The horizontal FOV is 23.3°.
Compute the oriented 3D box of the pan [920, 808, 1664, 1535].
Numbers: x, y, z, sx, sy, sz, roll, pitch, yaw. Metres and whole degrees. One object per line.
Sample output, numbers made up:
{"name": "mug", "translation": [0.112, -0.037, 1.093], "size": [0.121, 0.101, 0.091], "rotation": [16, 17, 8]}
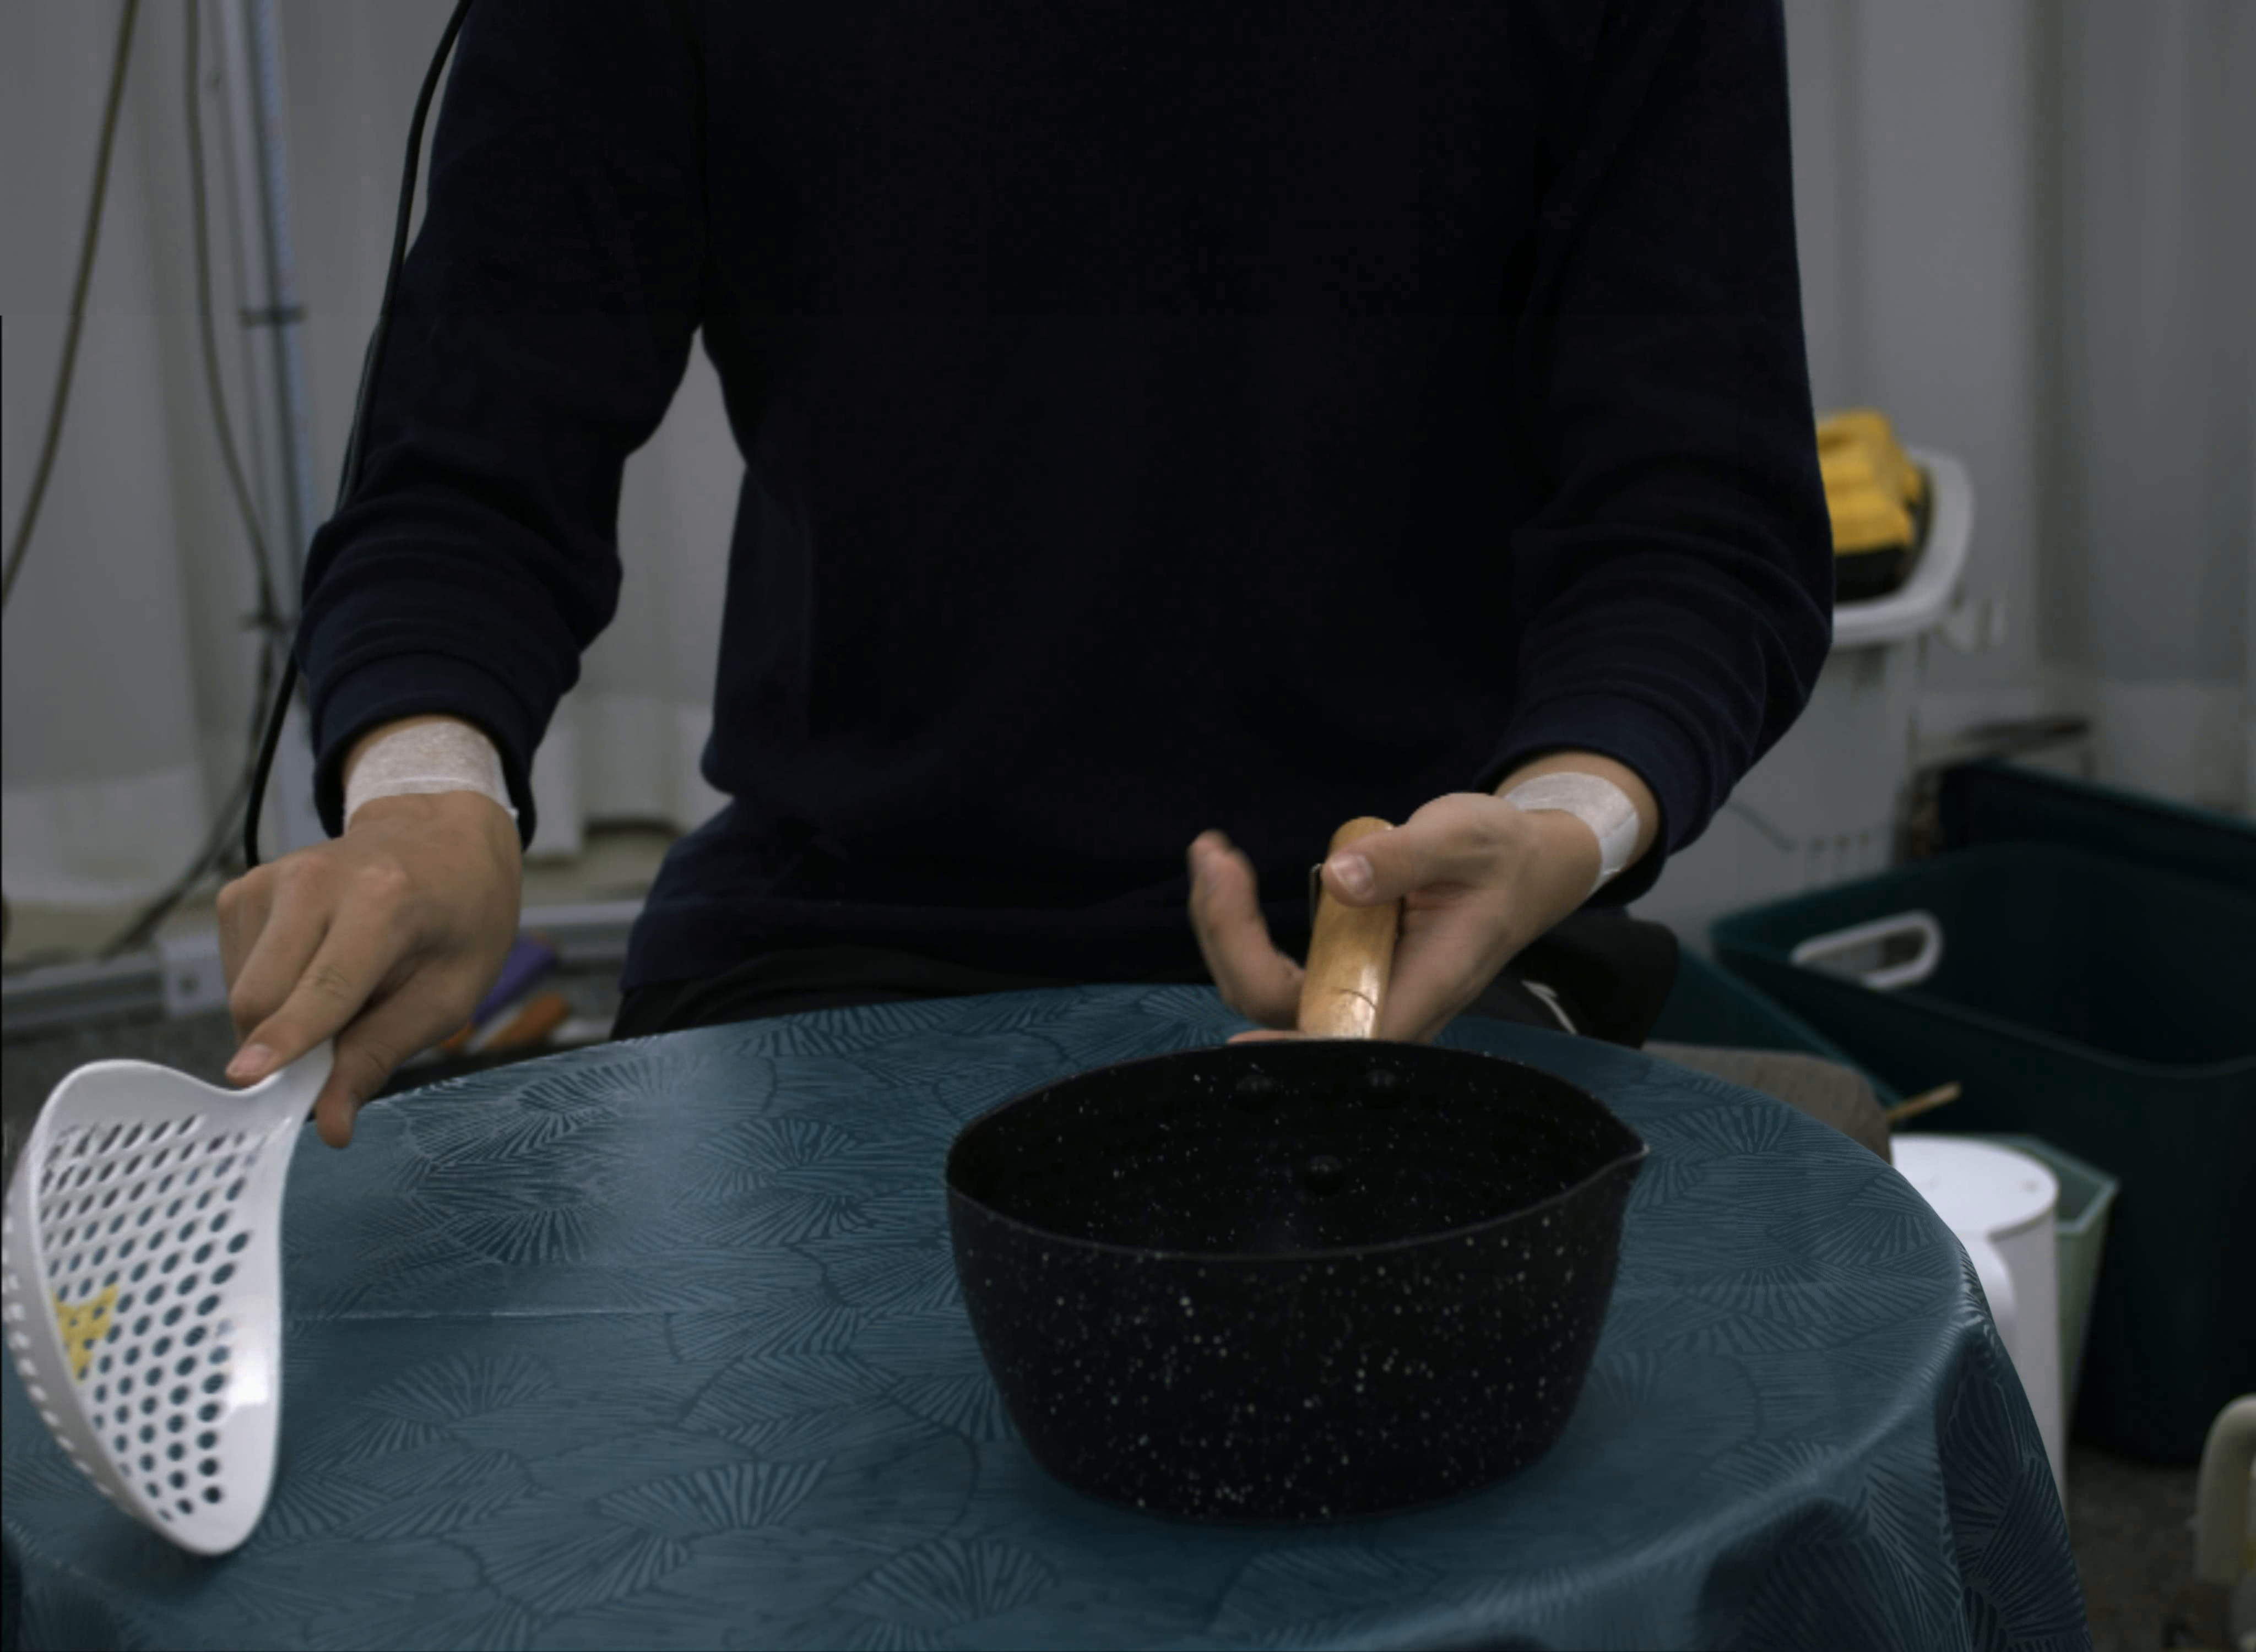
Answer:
{"name": "pan", "translation": [0.054, 0.094, 1.575], "size": [0.207, 0.108, 0.345], "rotation": [-2, 16, 8]}

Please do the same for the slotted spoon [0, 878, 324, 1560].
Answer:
{"name": "slotted spoon", "translation": [-0.262, 0.091, 1.573], "size": [0.050, 0.136, 0.351], "rotation": [-18, 19, 16]}
